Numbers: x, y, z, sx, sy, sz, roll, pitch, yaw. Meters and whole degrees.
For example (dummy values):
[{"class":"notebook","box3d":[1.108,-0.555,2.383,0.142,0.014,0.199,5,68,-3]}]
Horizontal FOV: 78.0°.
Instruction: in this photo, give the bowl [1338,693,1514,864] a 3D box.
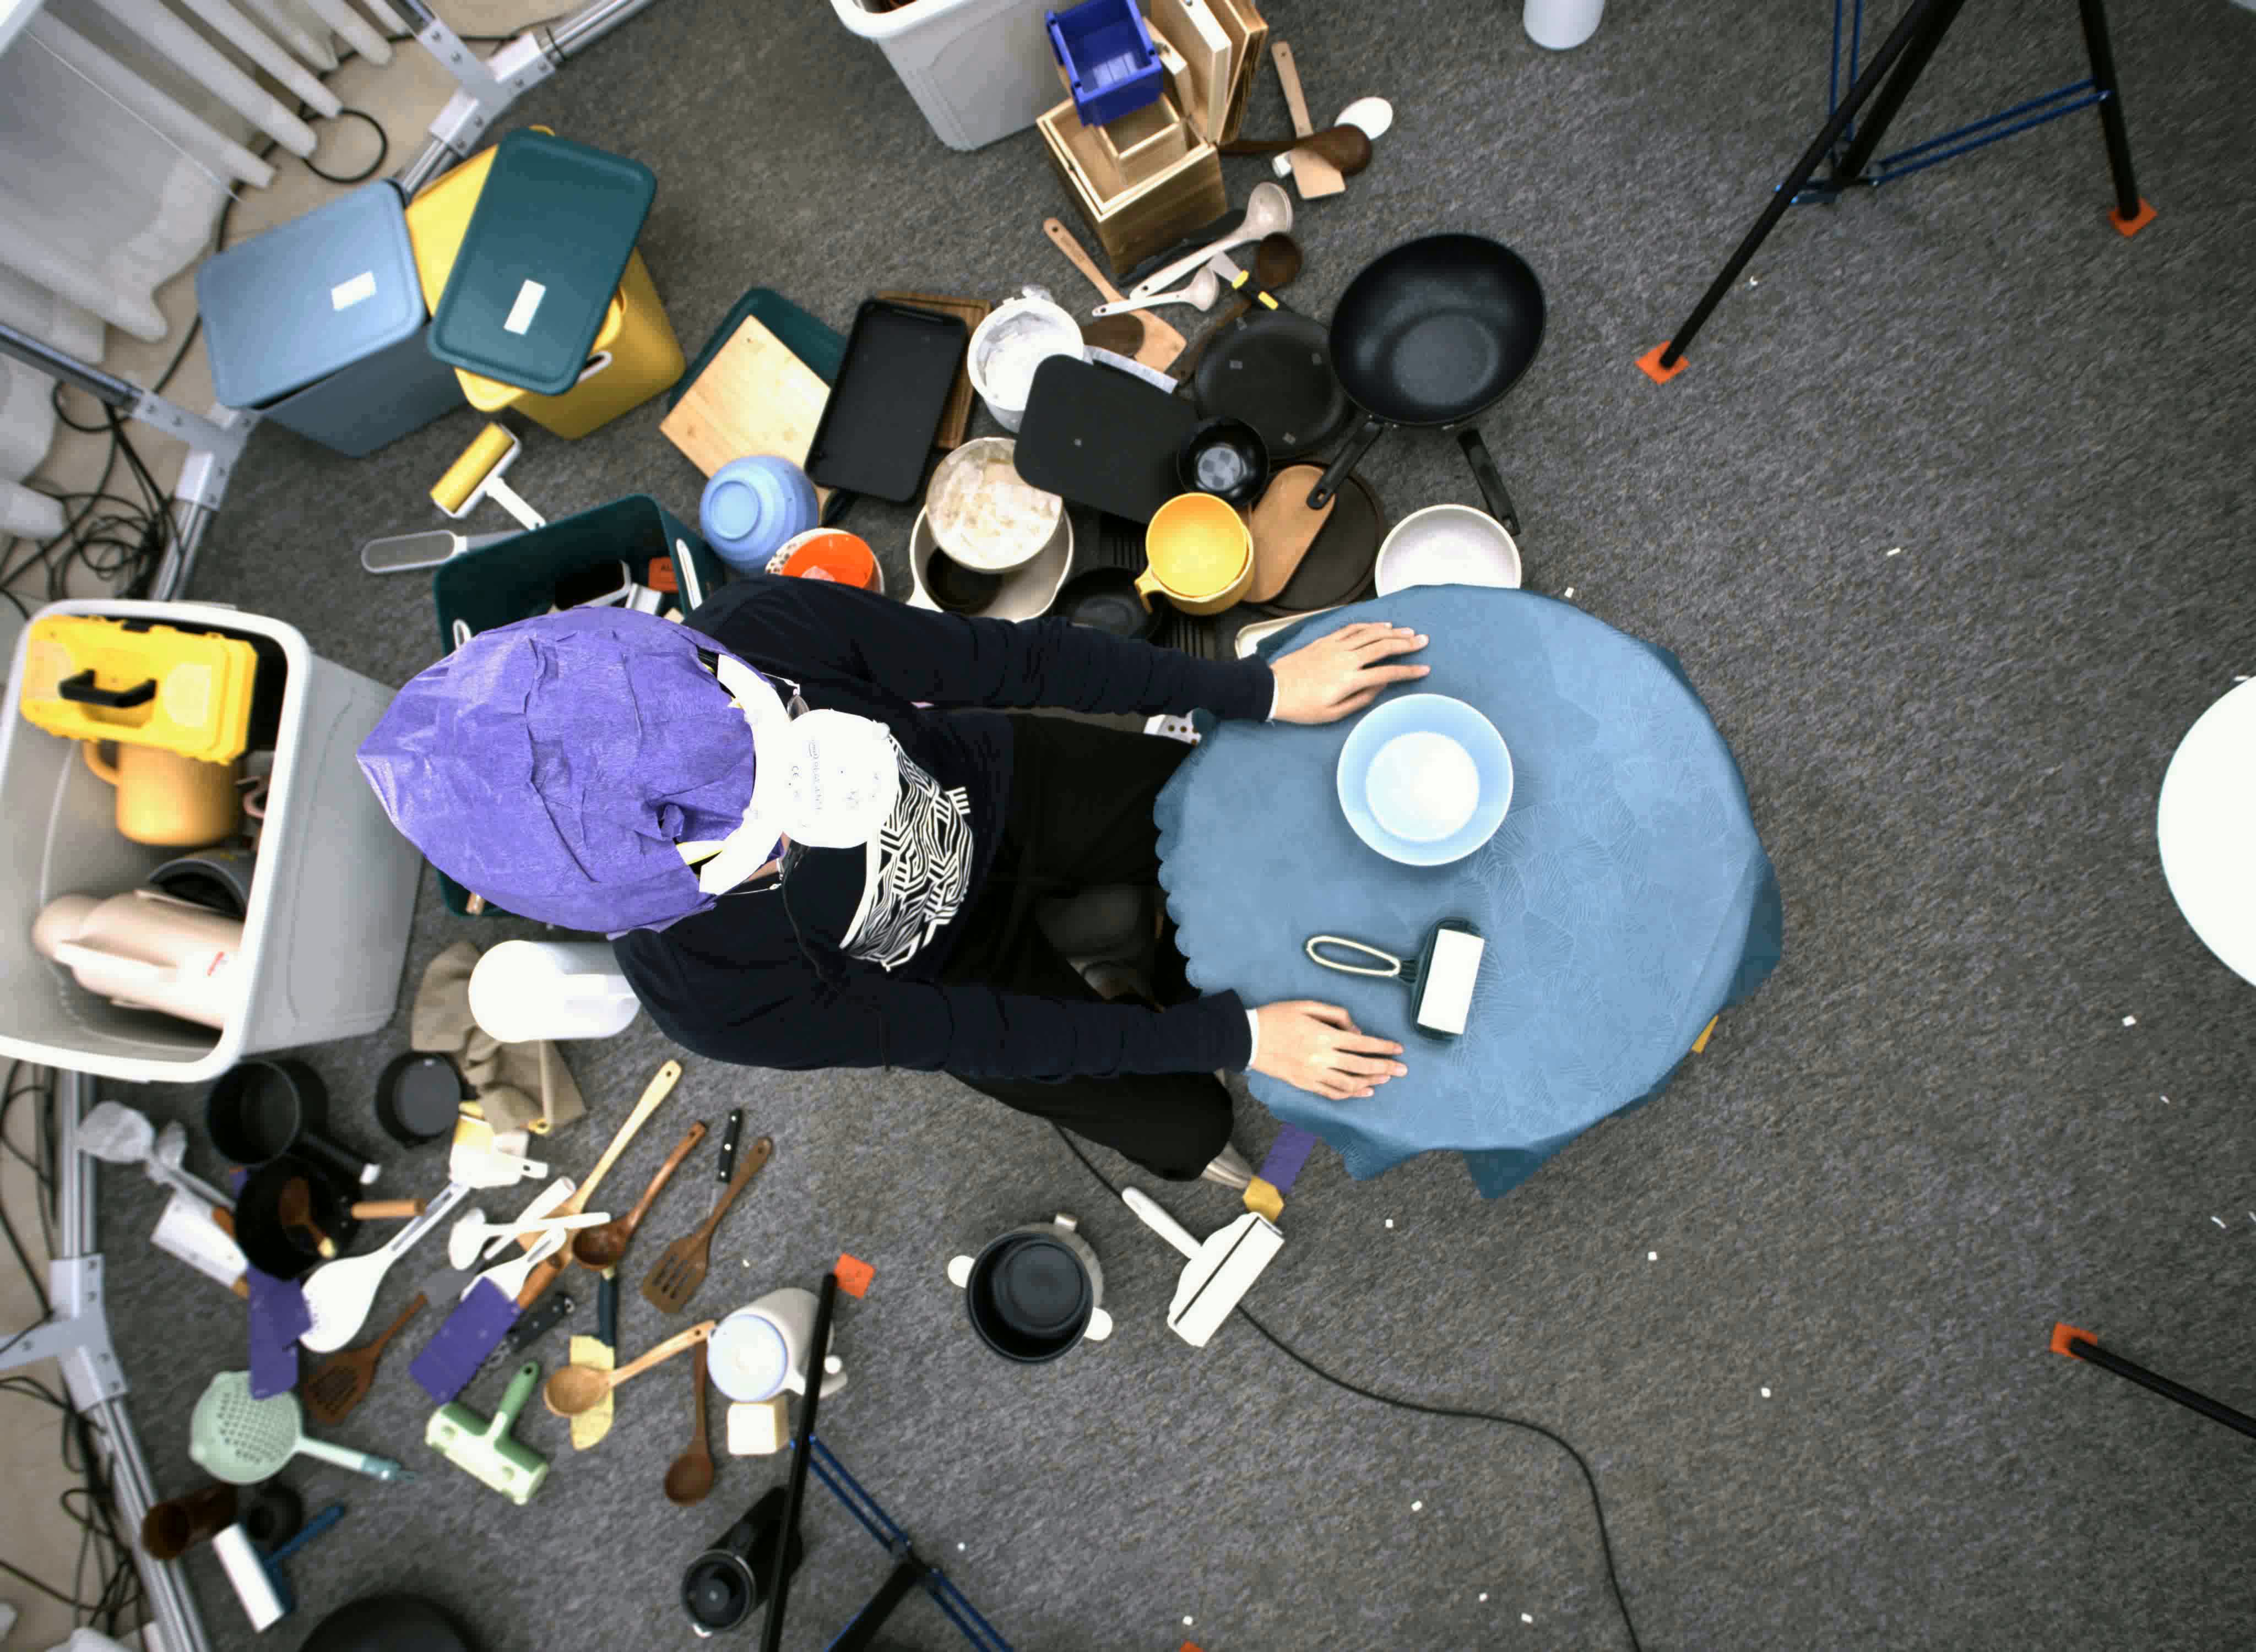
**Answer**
[{"class":"bowl","box3d":[0.307,-0.047,1.423,0.177,0.070,0.175,-1,87,11]}]

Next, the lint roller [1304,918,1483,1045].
[{"class":"lint roller","box3d":[0.269,0.144,1.437,0.180,0.048,0.134,13,88,15]}]
